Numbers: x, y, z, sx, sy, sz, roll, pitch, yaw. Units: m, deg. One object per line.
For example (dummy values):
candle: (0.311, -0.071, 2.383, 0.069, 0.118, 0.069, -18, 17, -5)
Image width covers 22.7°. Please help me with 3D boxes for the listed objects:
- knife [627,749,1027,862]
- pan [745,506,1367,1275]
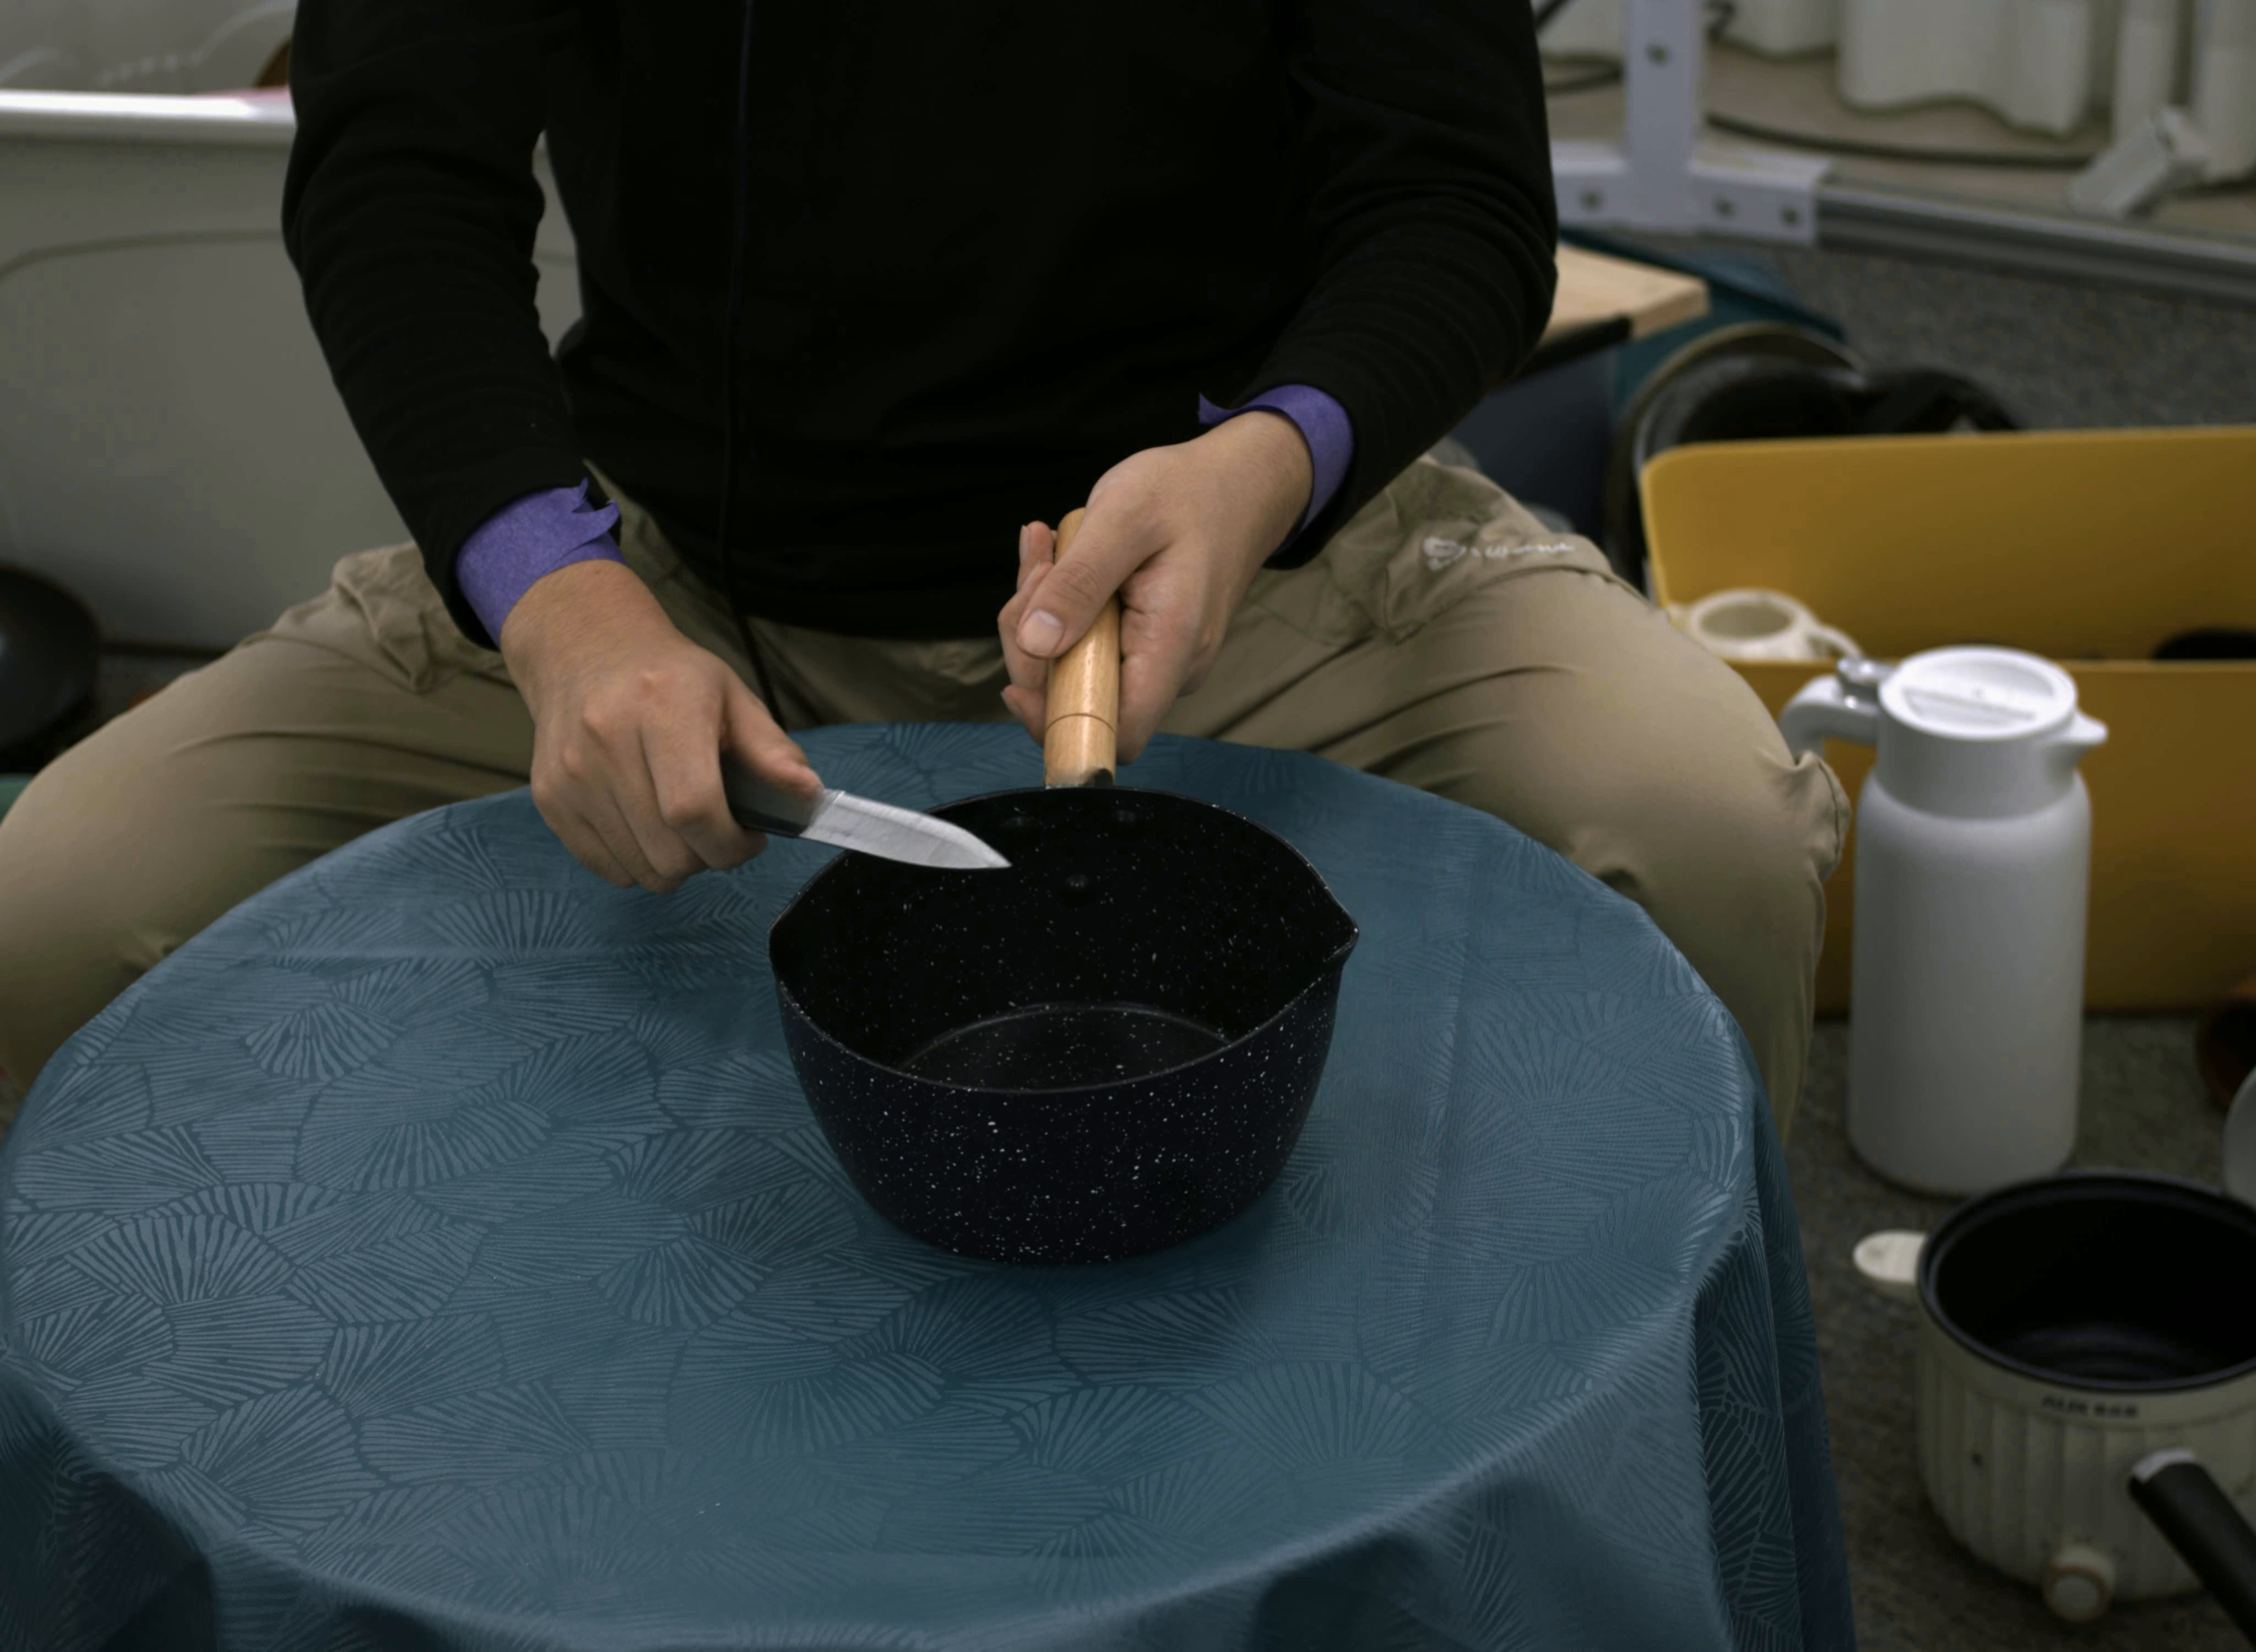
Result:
knife: (-0.106, -0.004, 1.920, 0.025, 0.016, 0.237, -48, 32, -21)
pan: (-0.020, 0.019, 1.924, 0.206, 0.107, 0.349, -2, 32, 3)
